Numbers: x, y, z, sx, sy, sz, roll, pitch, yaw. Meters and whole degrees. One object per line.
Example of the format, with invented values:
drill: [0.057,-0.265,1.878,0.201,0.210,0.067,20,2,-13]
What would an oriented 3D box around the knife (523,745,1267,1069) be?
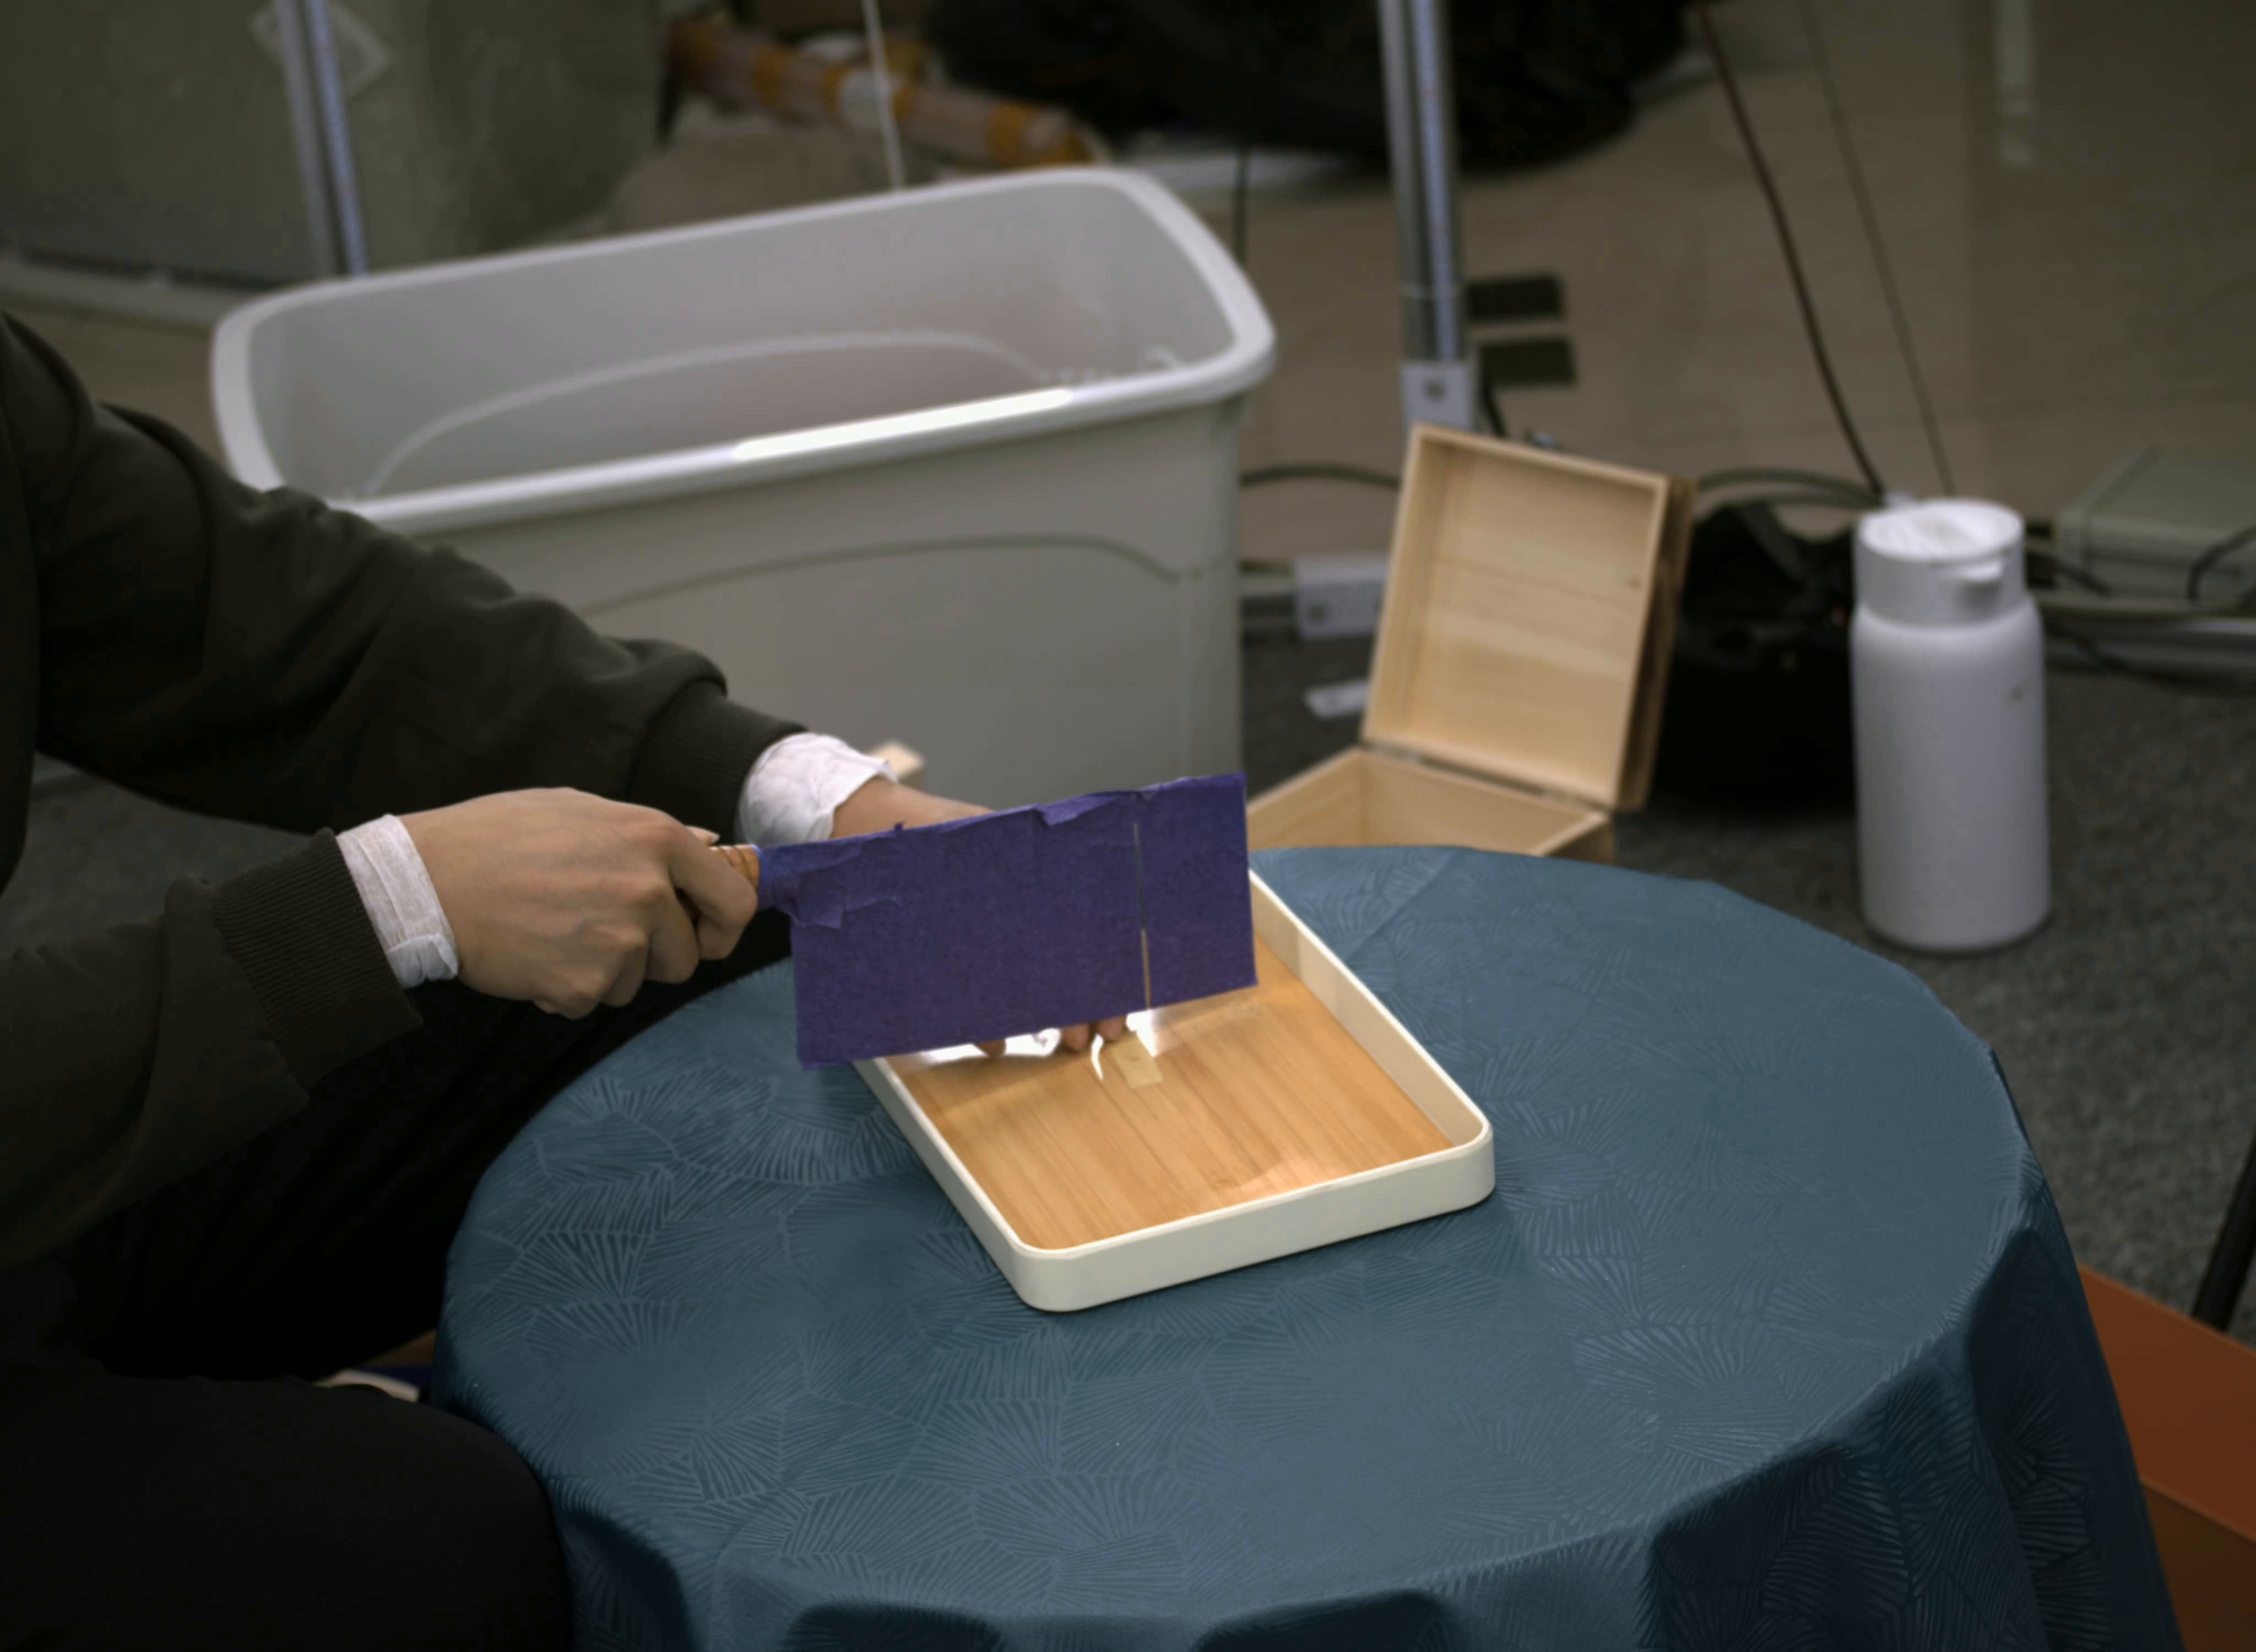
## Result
knife: [-0.081,0.043,2.185,0.314,0.105,0.032,-10,15,-27]

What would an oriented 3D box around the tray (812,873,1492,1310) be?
tray: [0.003,0.095,2.212,0.191,0.028,0.296,-13,26,-15]
